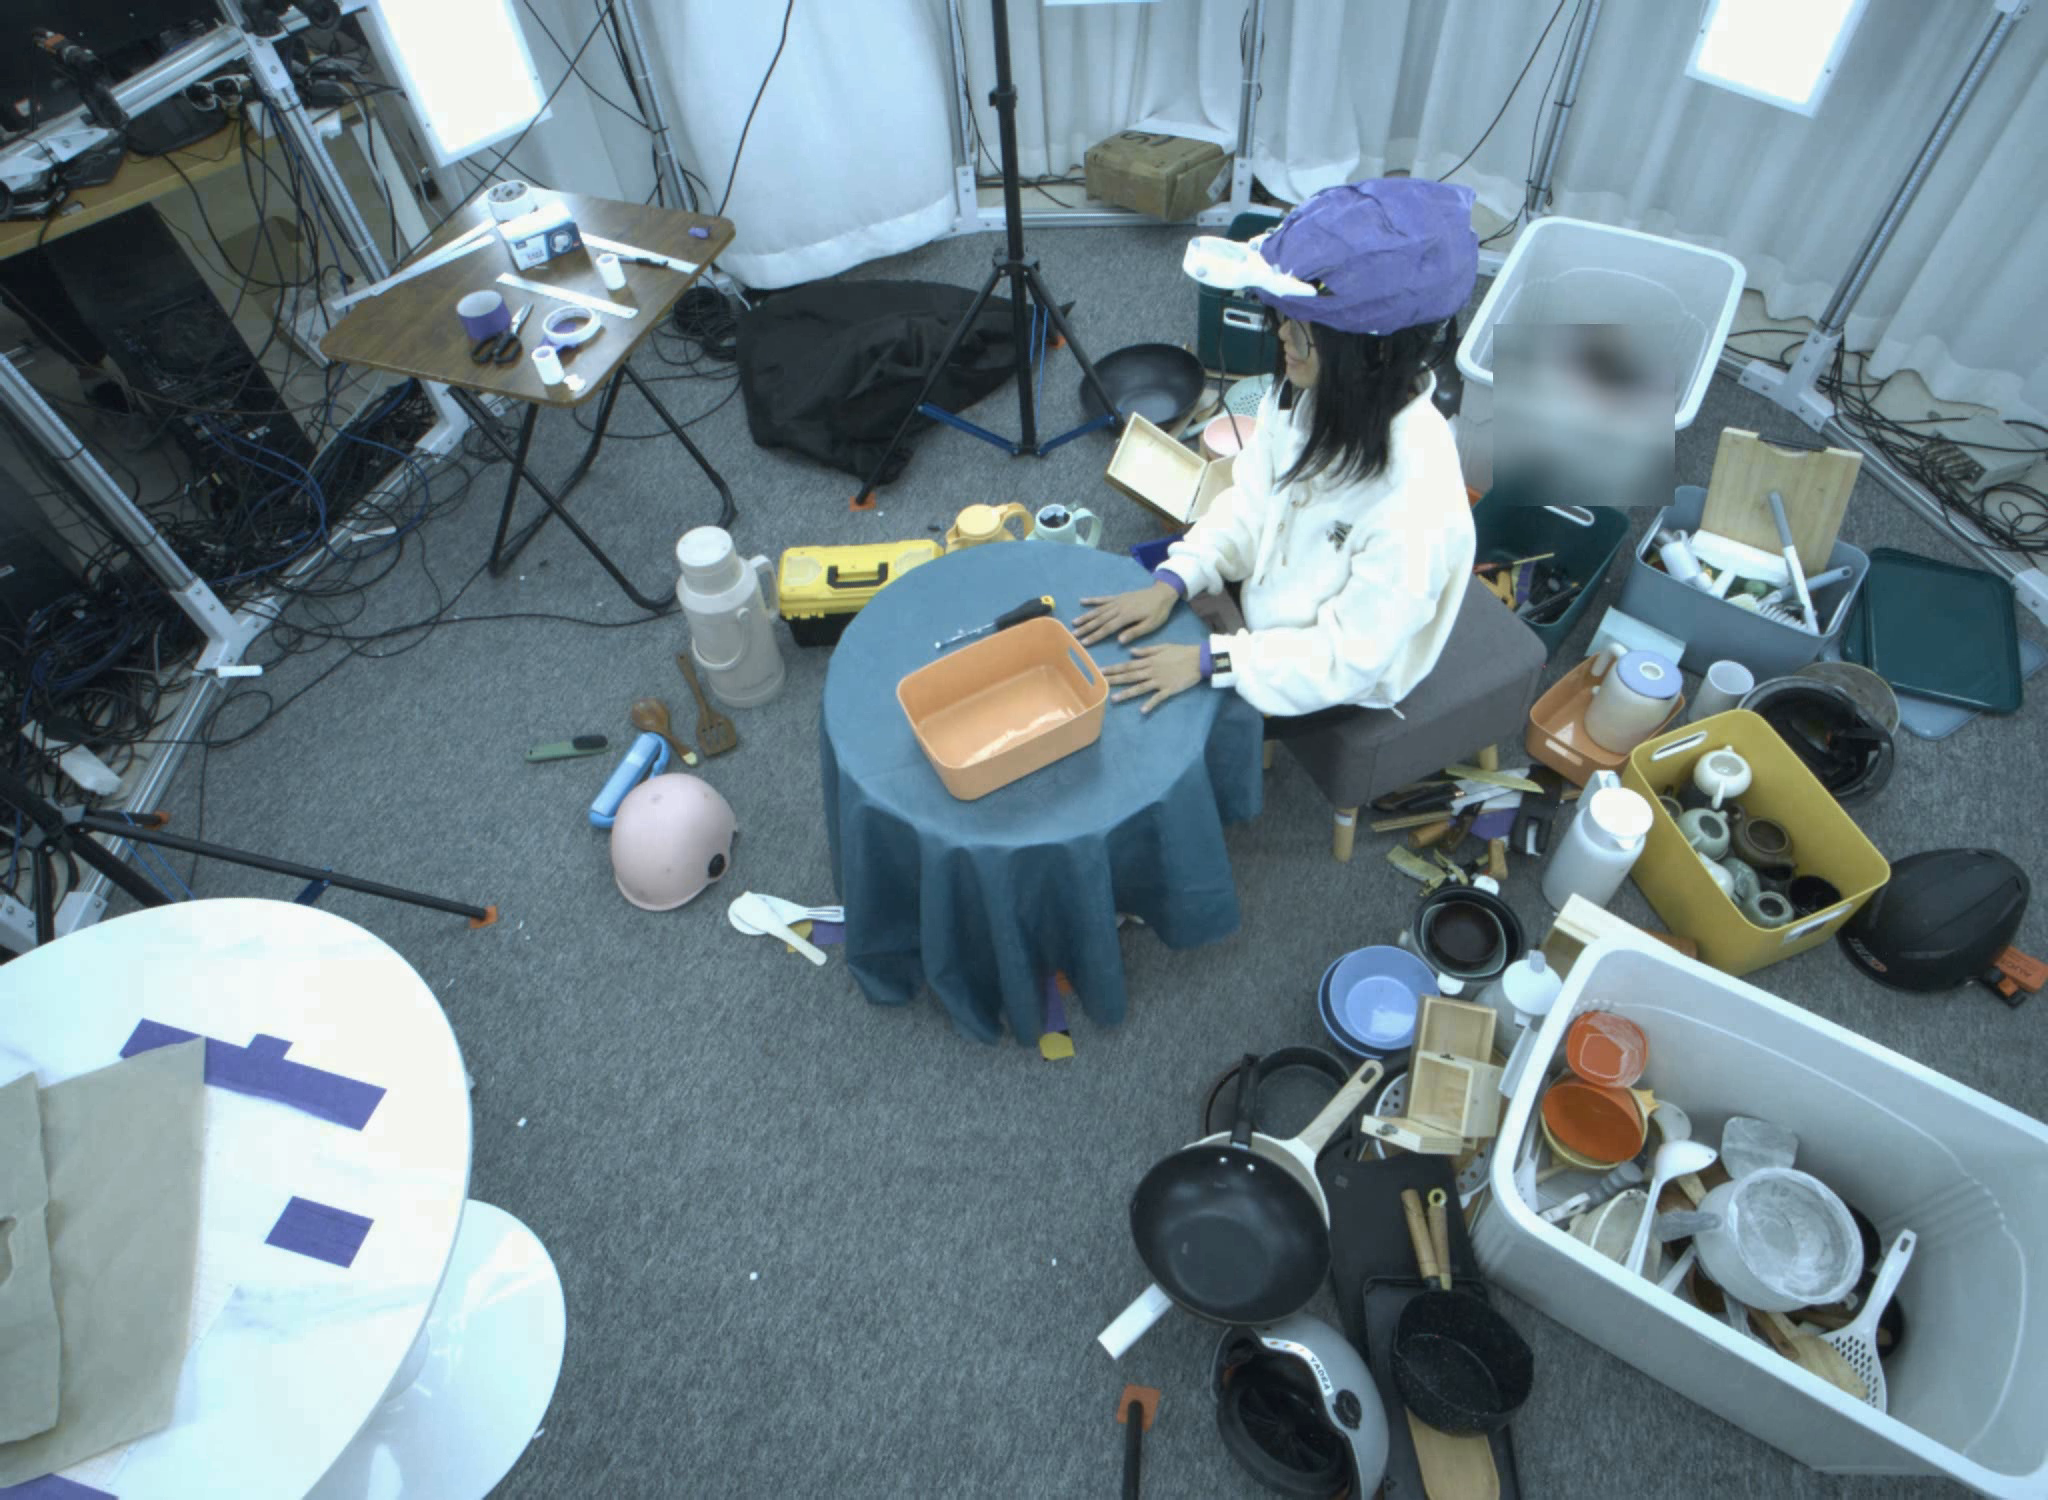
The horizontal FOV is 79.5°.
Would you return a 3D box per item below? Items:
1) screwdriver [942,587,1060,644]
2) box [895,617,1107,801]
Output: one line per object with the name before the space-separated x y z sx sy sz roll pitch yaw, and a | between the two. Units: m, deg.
screwdriver | -0.035 -0.203 1.904 0.198 0.032 0.031 -27 58 -6
box | -0.028 -0.055 1.764 0.275 0.104 0.195 -26 57 -15
